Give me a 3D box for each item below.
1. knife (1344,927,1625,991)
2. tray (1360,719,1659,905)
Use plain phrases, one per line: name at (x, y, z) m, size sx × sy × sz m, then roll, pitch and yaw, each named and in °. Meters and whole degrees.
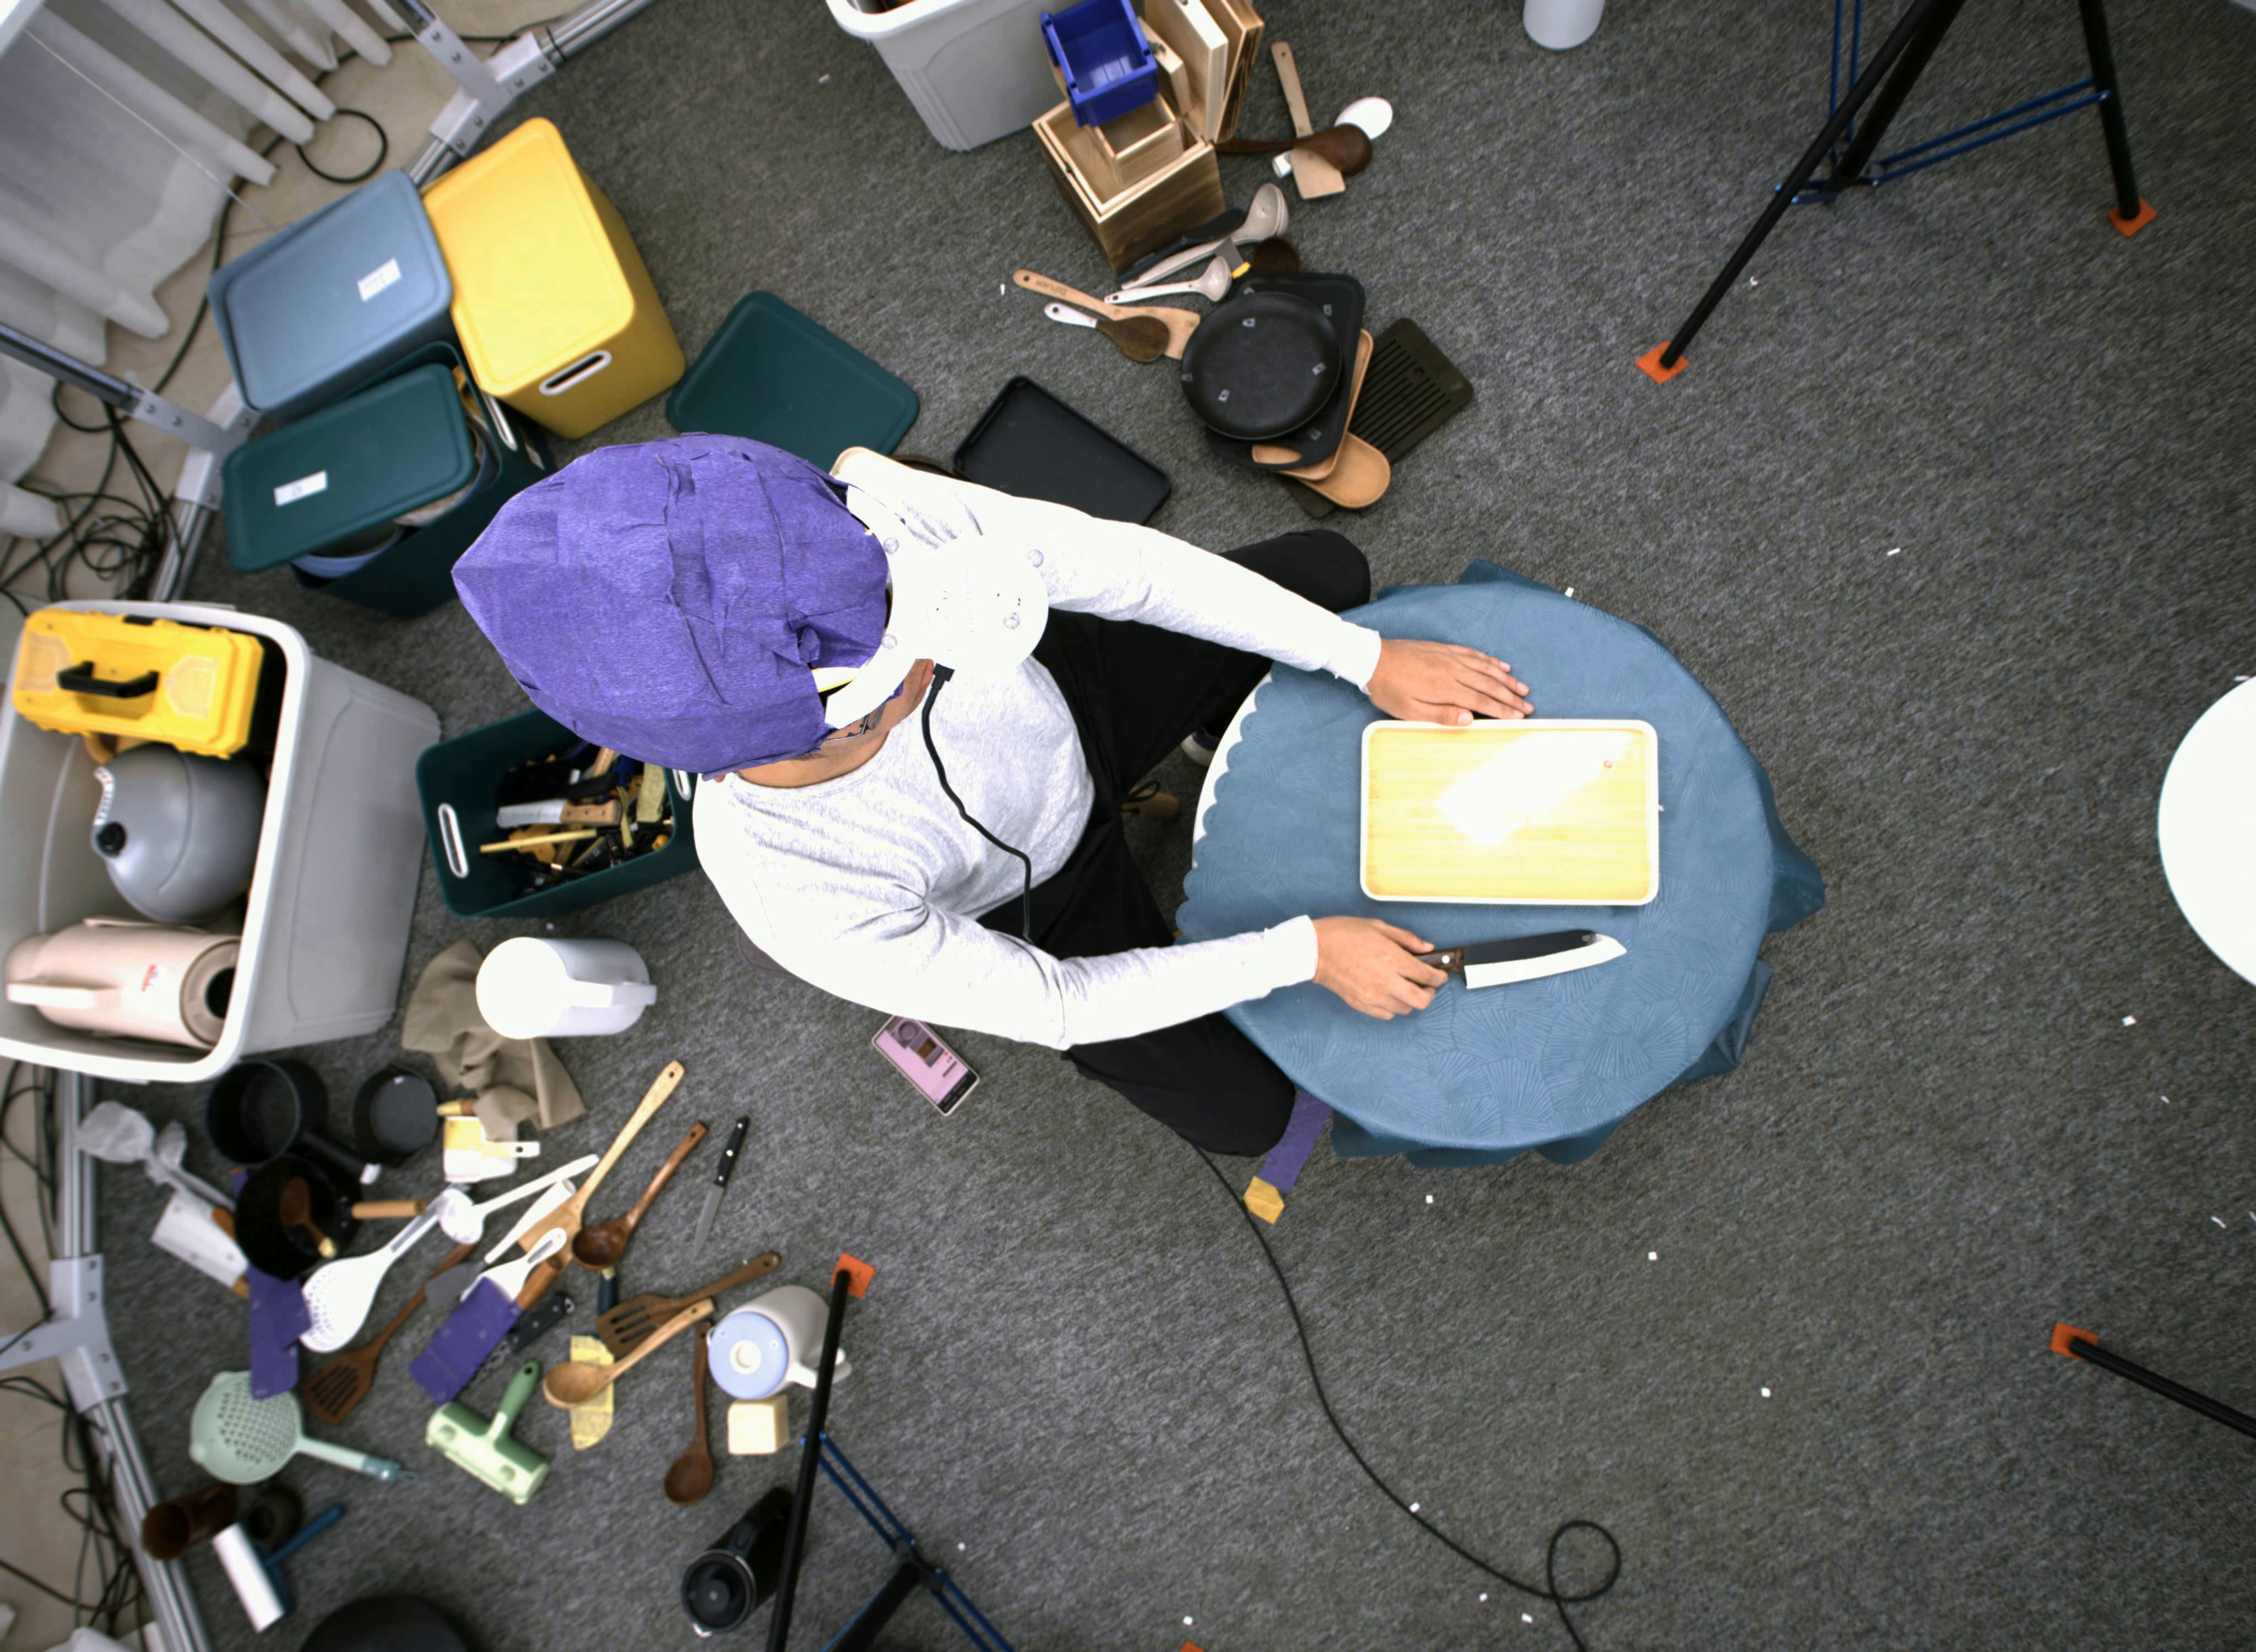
knife at (0.369, 0.139, 1.425) m, size 0.290 × 0.020 × 0.050 m, roll -7°, pitch 85°, yaw 5°
tray at (0.394, -0.018, 1.428) m, size 0.301 × 0.027 × 0.191 m, roll 1°, pitch 87°, yaw 11°
